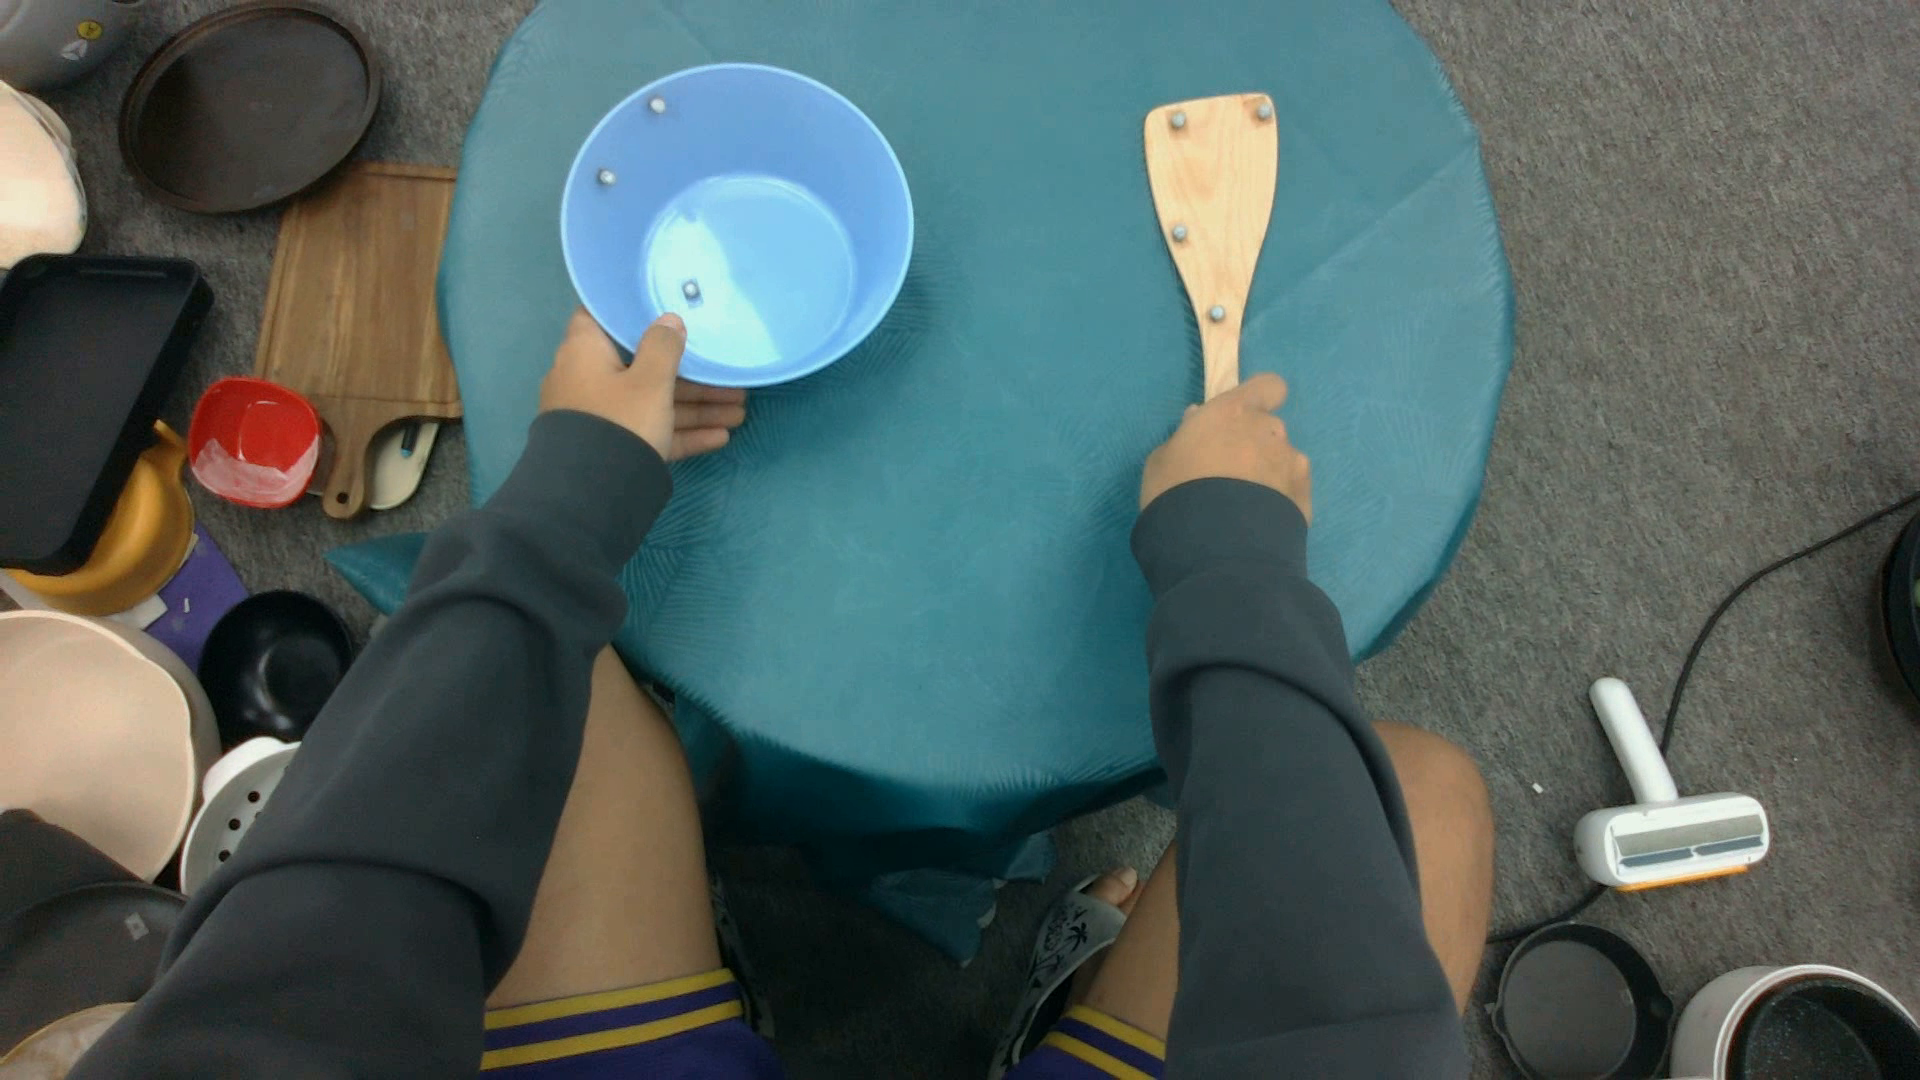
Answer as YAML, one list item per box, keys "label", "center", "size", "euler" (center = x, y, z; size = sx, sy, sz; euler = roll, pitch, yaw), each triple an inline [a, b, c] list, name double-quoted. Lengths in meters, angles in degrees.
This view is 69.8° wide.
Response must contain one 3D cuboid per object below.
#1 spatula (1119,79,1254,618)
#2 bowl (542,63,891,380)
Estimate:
- label: "spatula"
  center: [0.131, -0.116, 0.762]
  size: [0.080, 0.016, 0.328]
  euler: [2, 70, -3]
- label: "bowl"
  center: [-0.125, -0.156, 0.726]
  size: [0.176, 0.070, 0.176]
  euler: [1, 75, -5]
